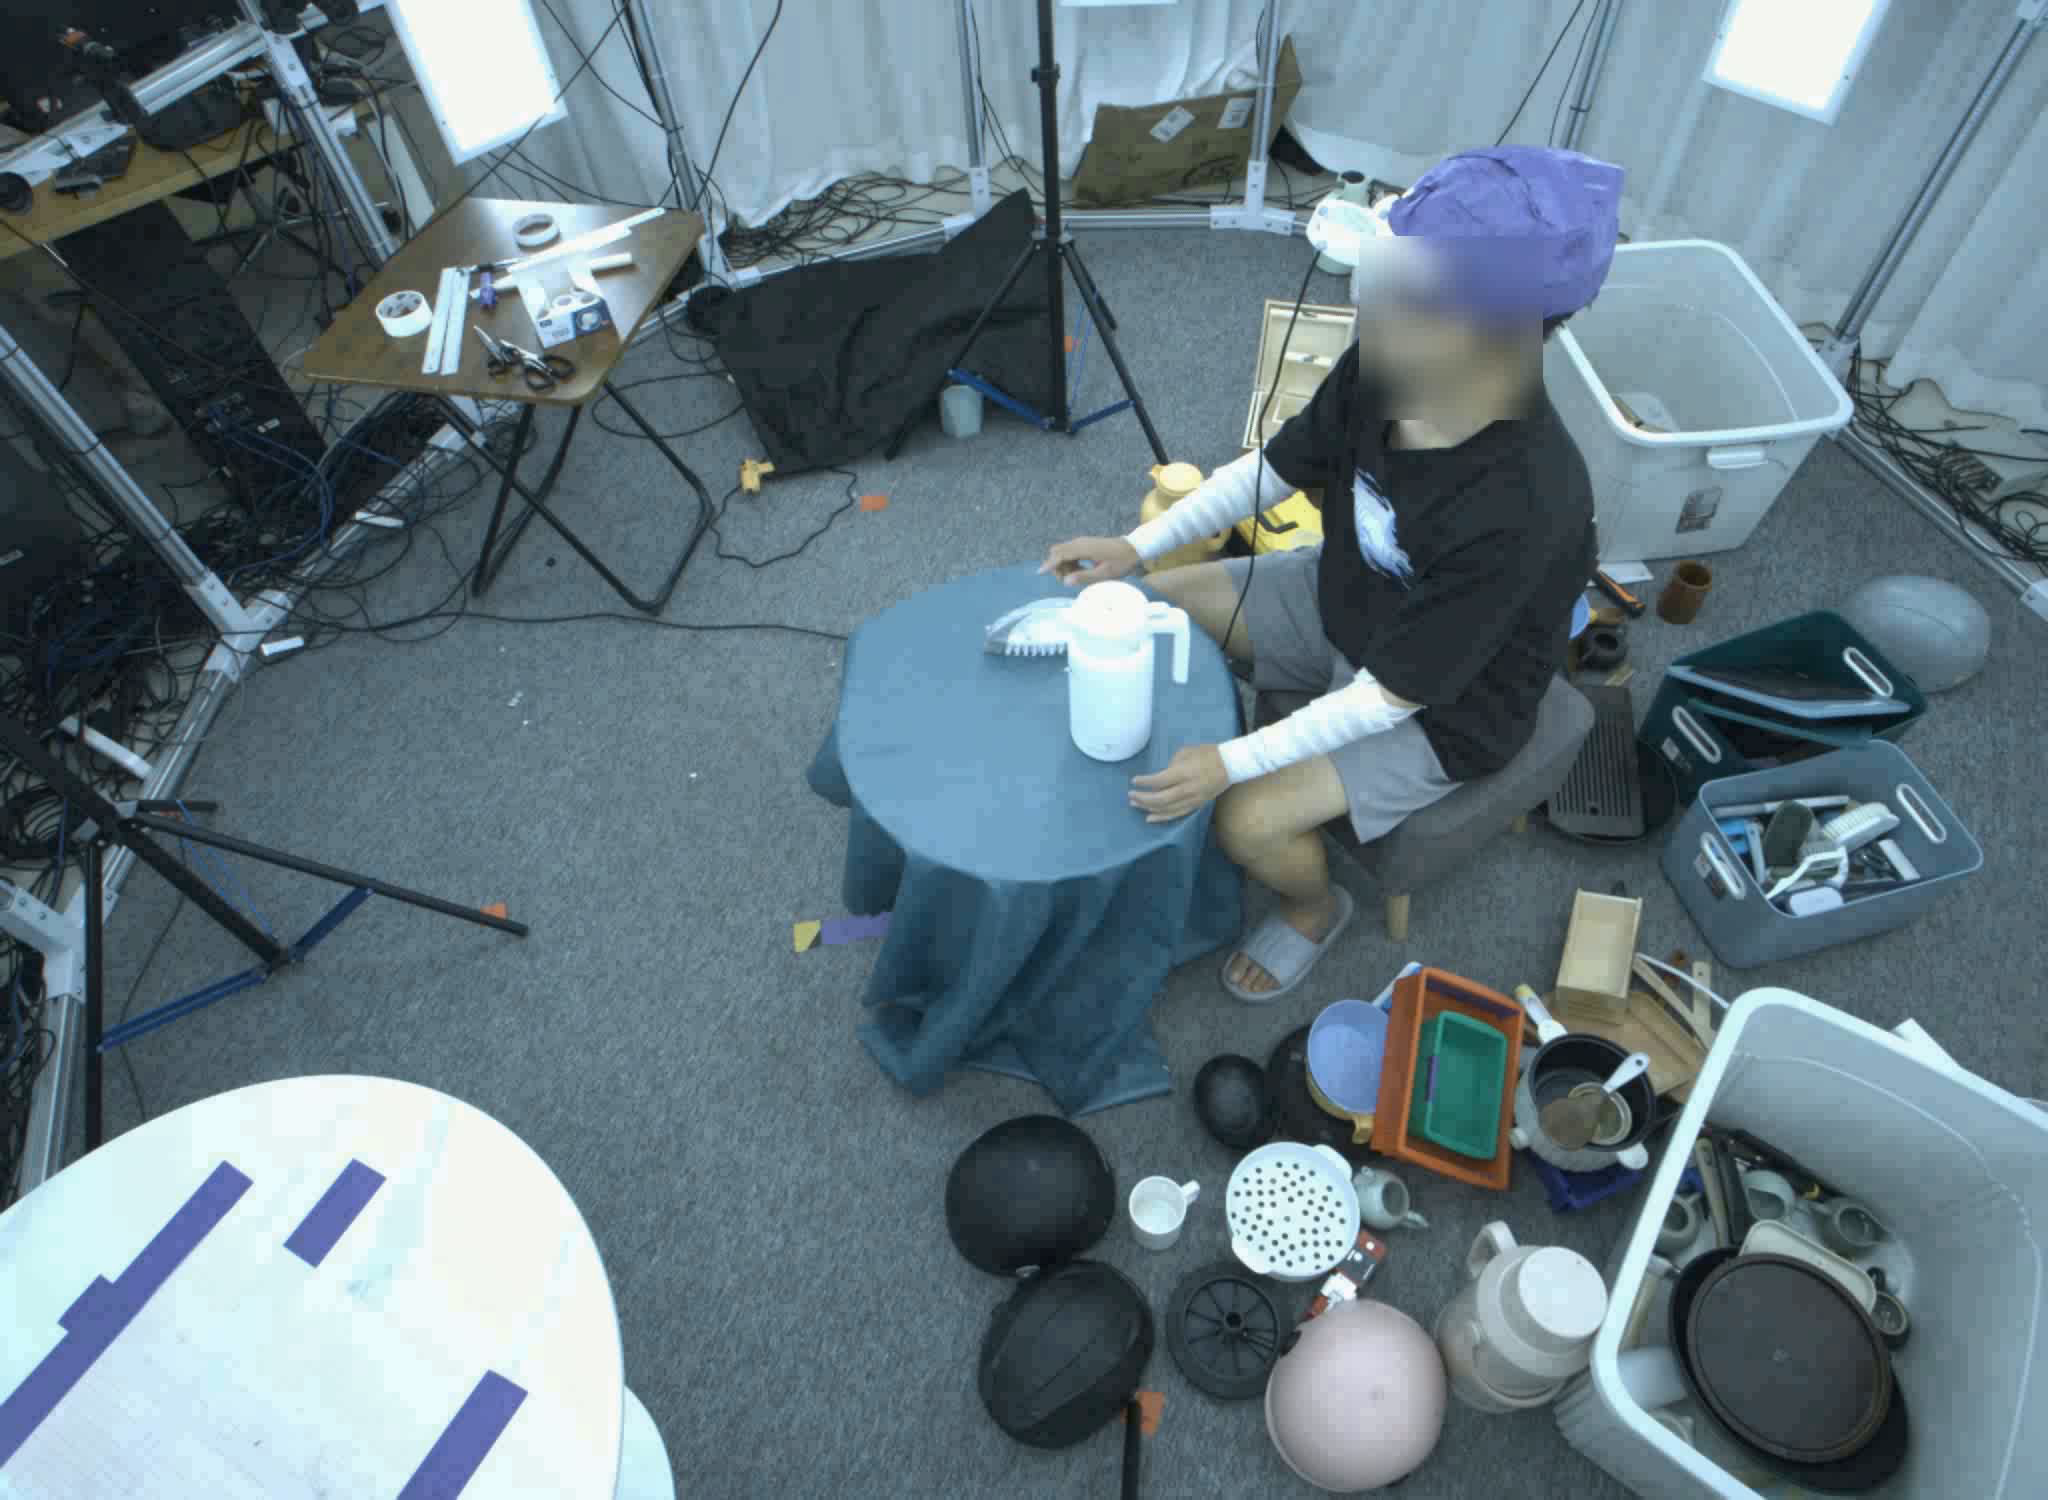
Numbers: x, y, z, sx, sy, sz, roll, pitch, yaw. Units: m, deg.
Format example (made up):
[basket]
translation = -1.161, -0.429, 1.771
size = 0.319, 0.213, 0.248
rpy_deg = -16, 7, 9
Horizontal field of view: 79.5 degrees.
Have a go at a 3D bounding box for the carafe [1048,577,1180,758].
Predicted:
[carafe]
translation = 0.124, -0.111, 1.688
size = 0.173, 0.272, 0.122
rpy_deg = -3, 52, 1

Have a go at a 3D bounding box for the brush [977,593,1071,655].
[brush]
translation = 0.010, -0.192, 1.858
size = 0.176, 0.095, 0.060
rpy_deg = -9, 52, -2
